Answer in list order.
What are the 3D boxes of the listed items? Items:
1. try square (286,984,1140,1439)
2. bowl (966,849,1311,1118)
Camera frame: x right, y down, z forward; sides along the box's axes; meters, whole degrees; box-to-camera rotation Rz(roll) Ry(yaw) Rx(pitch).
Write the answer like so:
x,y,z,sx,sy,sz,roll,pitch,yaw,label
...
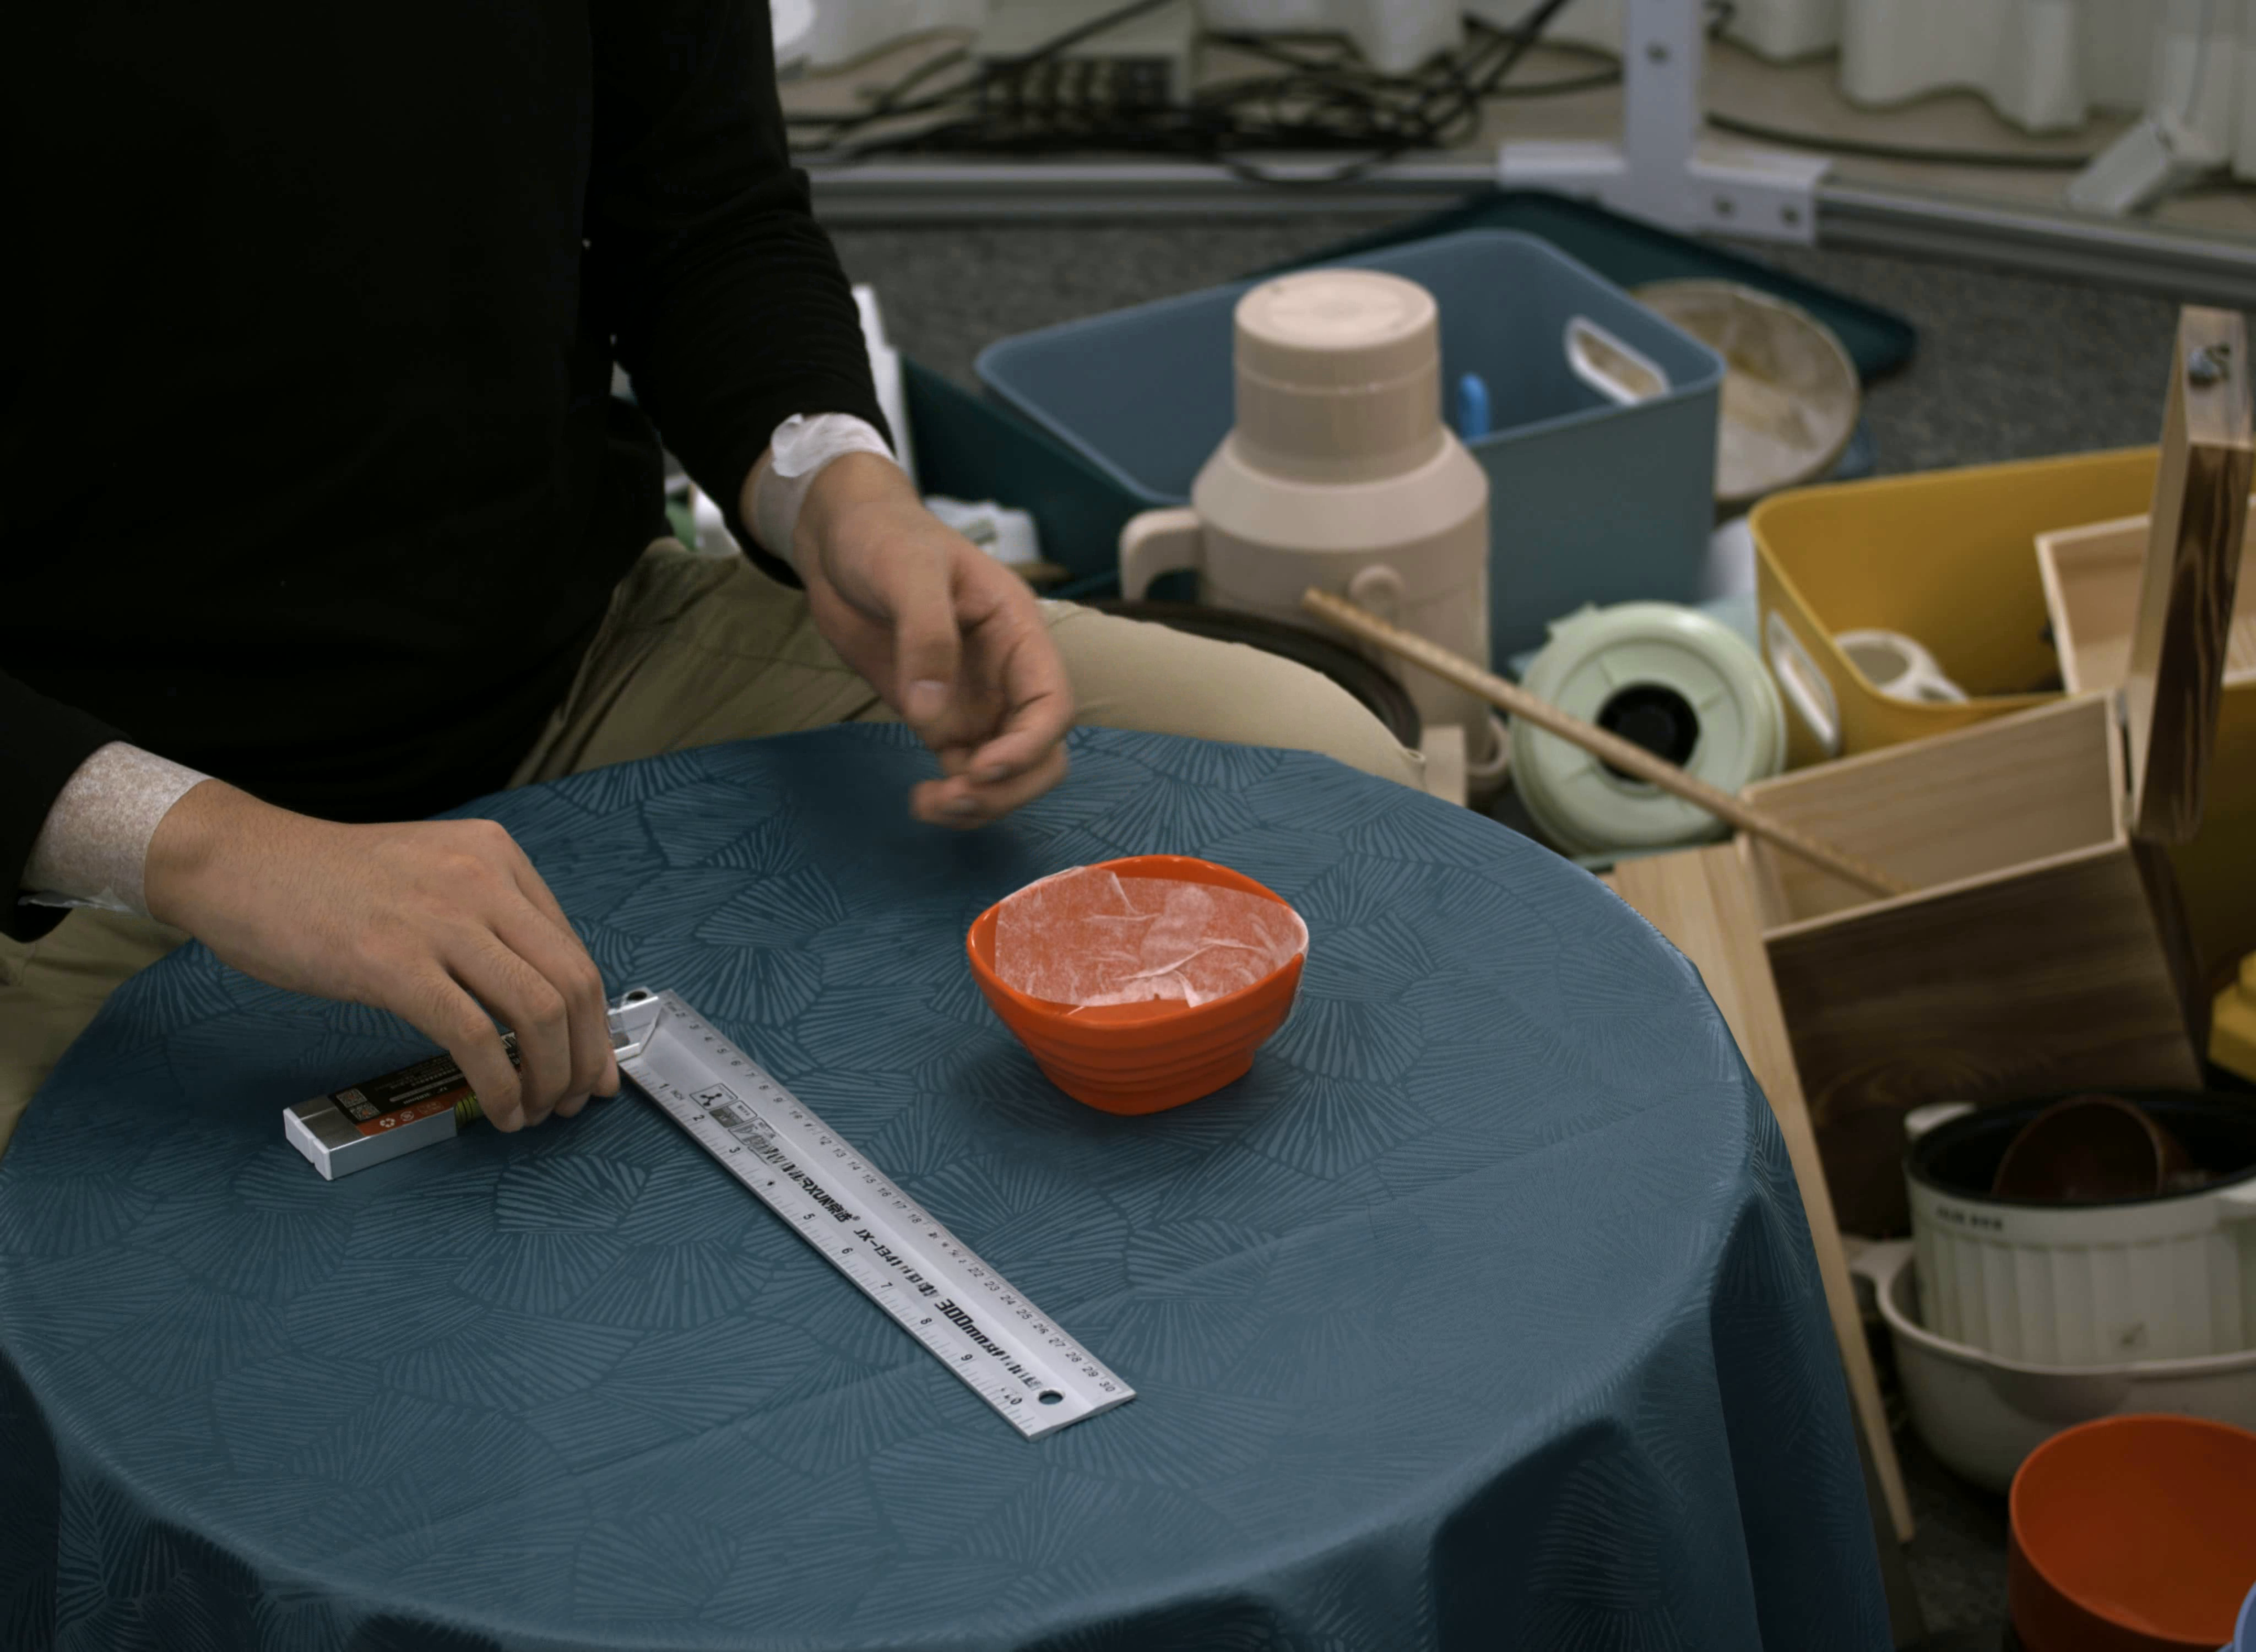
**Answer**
x,y,z,sx,sy,sz,roll,pitch,yaw,label
-0.142,0.140,1.834,0.153,0.016,0.314,-20,33,-26,try square
0.005,0.058,1.926,0.118,0.051,0.121,-3,29,2,bowl
